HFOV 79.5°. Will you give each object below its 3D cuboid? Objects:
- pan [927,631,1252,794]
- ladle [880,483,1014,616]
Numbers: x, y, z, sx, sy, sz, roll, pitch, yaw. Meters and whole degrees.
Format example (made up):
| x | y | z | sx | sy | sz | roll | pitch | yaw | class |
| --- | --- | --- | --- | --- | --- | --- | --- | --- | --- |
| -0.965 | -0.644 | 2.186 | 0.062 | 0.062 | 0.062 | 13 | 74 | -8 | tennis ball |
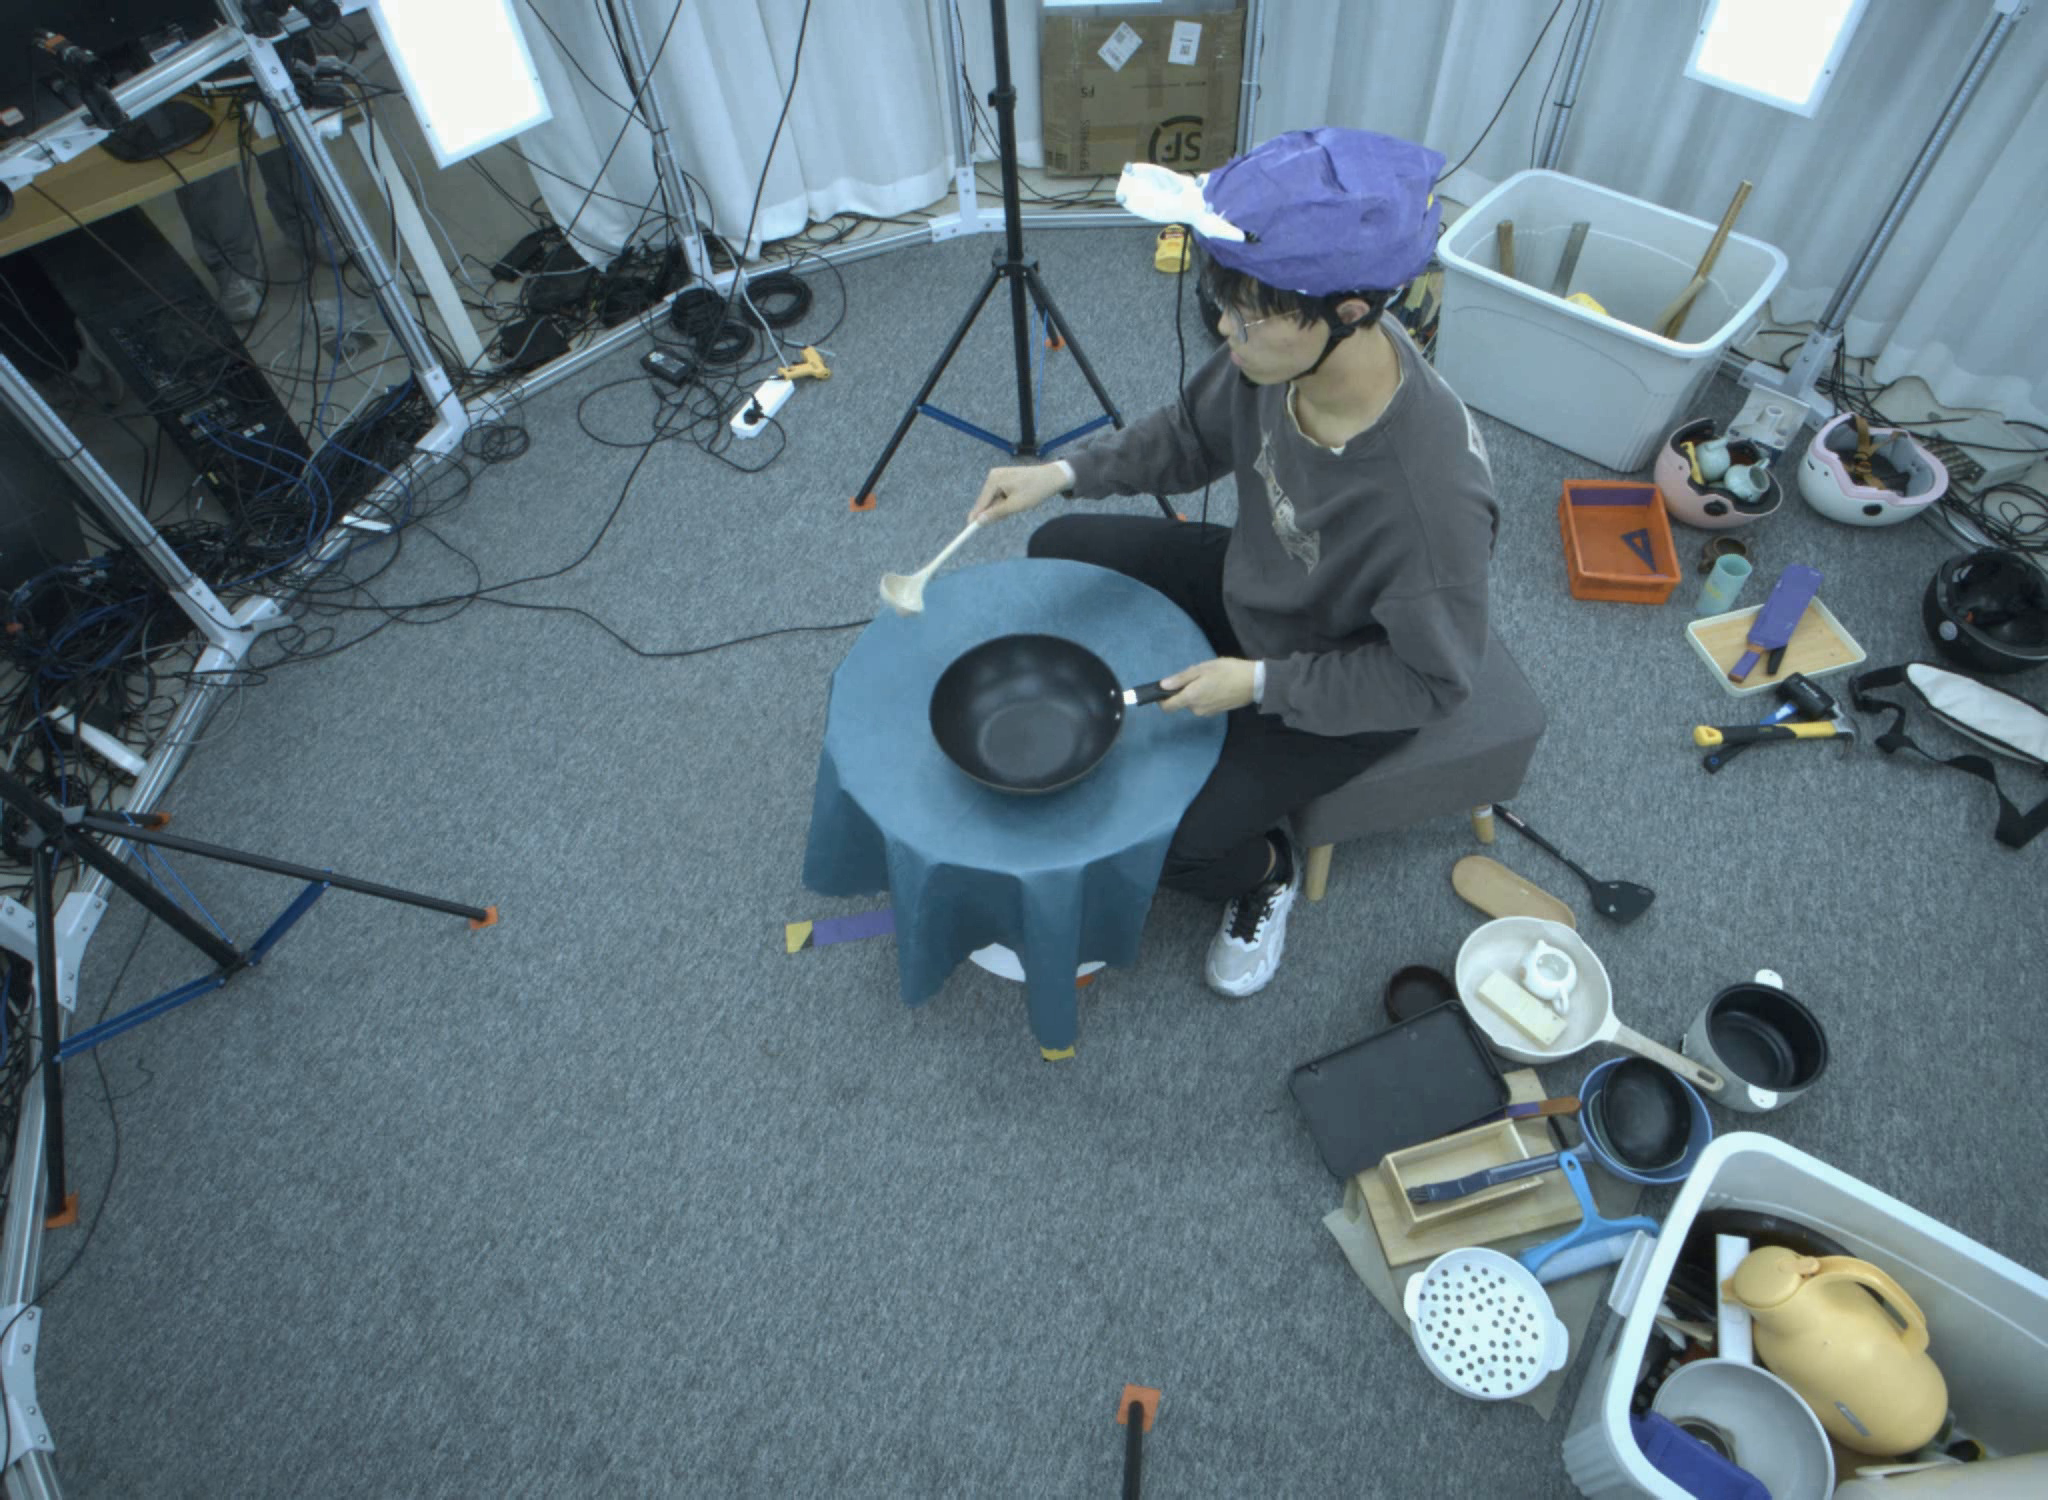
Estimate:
| x | y | z | sx | sy | sz | roll | pitch | yaw | class |
| --- | --- | --- | --- | --- | --- | --- | --- | --- | --- |
| 0.095 | -0.052 | 1.768 | 0.465 | 0.088 | 0.284 | -8 | 54 | -5 | pan |
| -0.108 | -0.300 | 1.774 | 0.072 | 0.073 | 0.254 | 43 | 92 | 2 | ladle |
